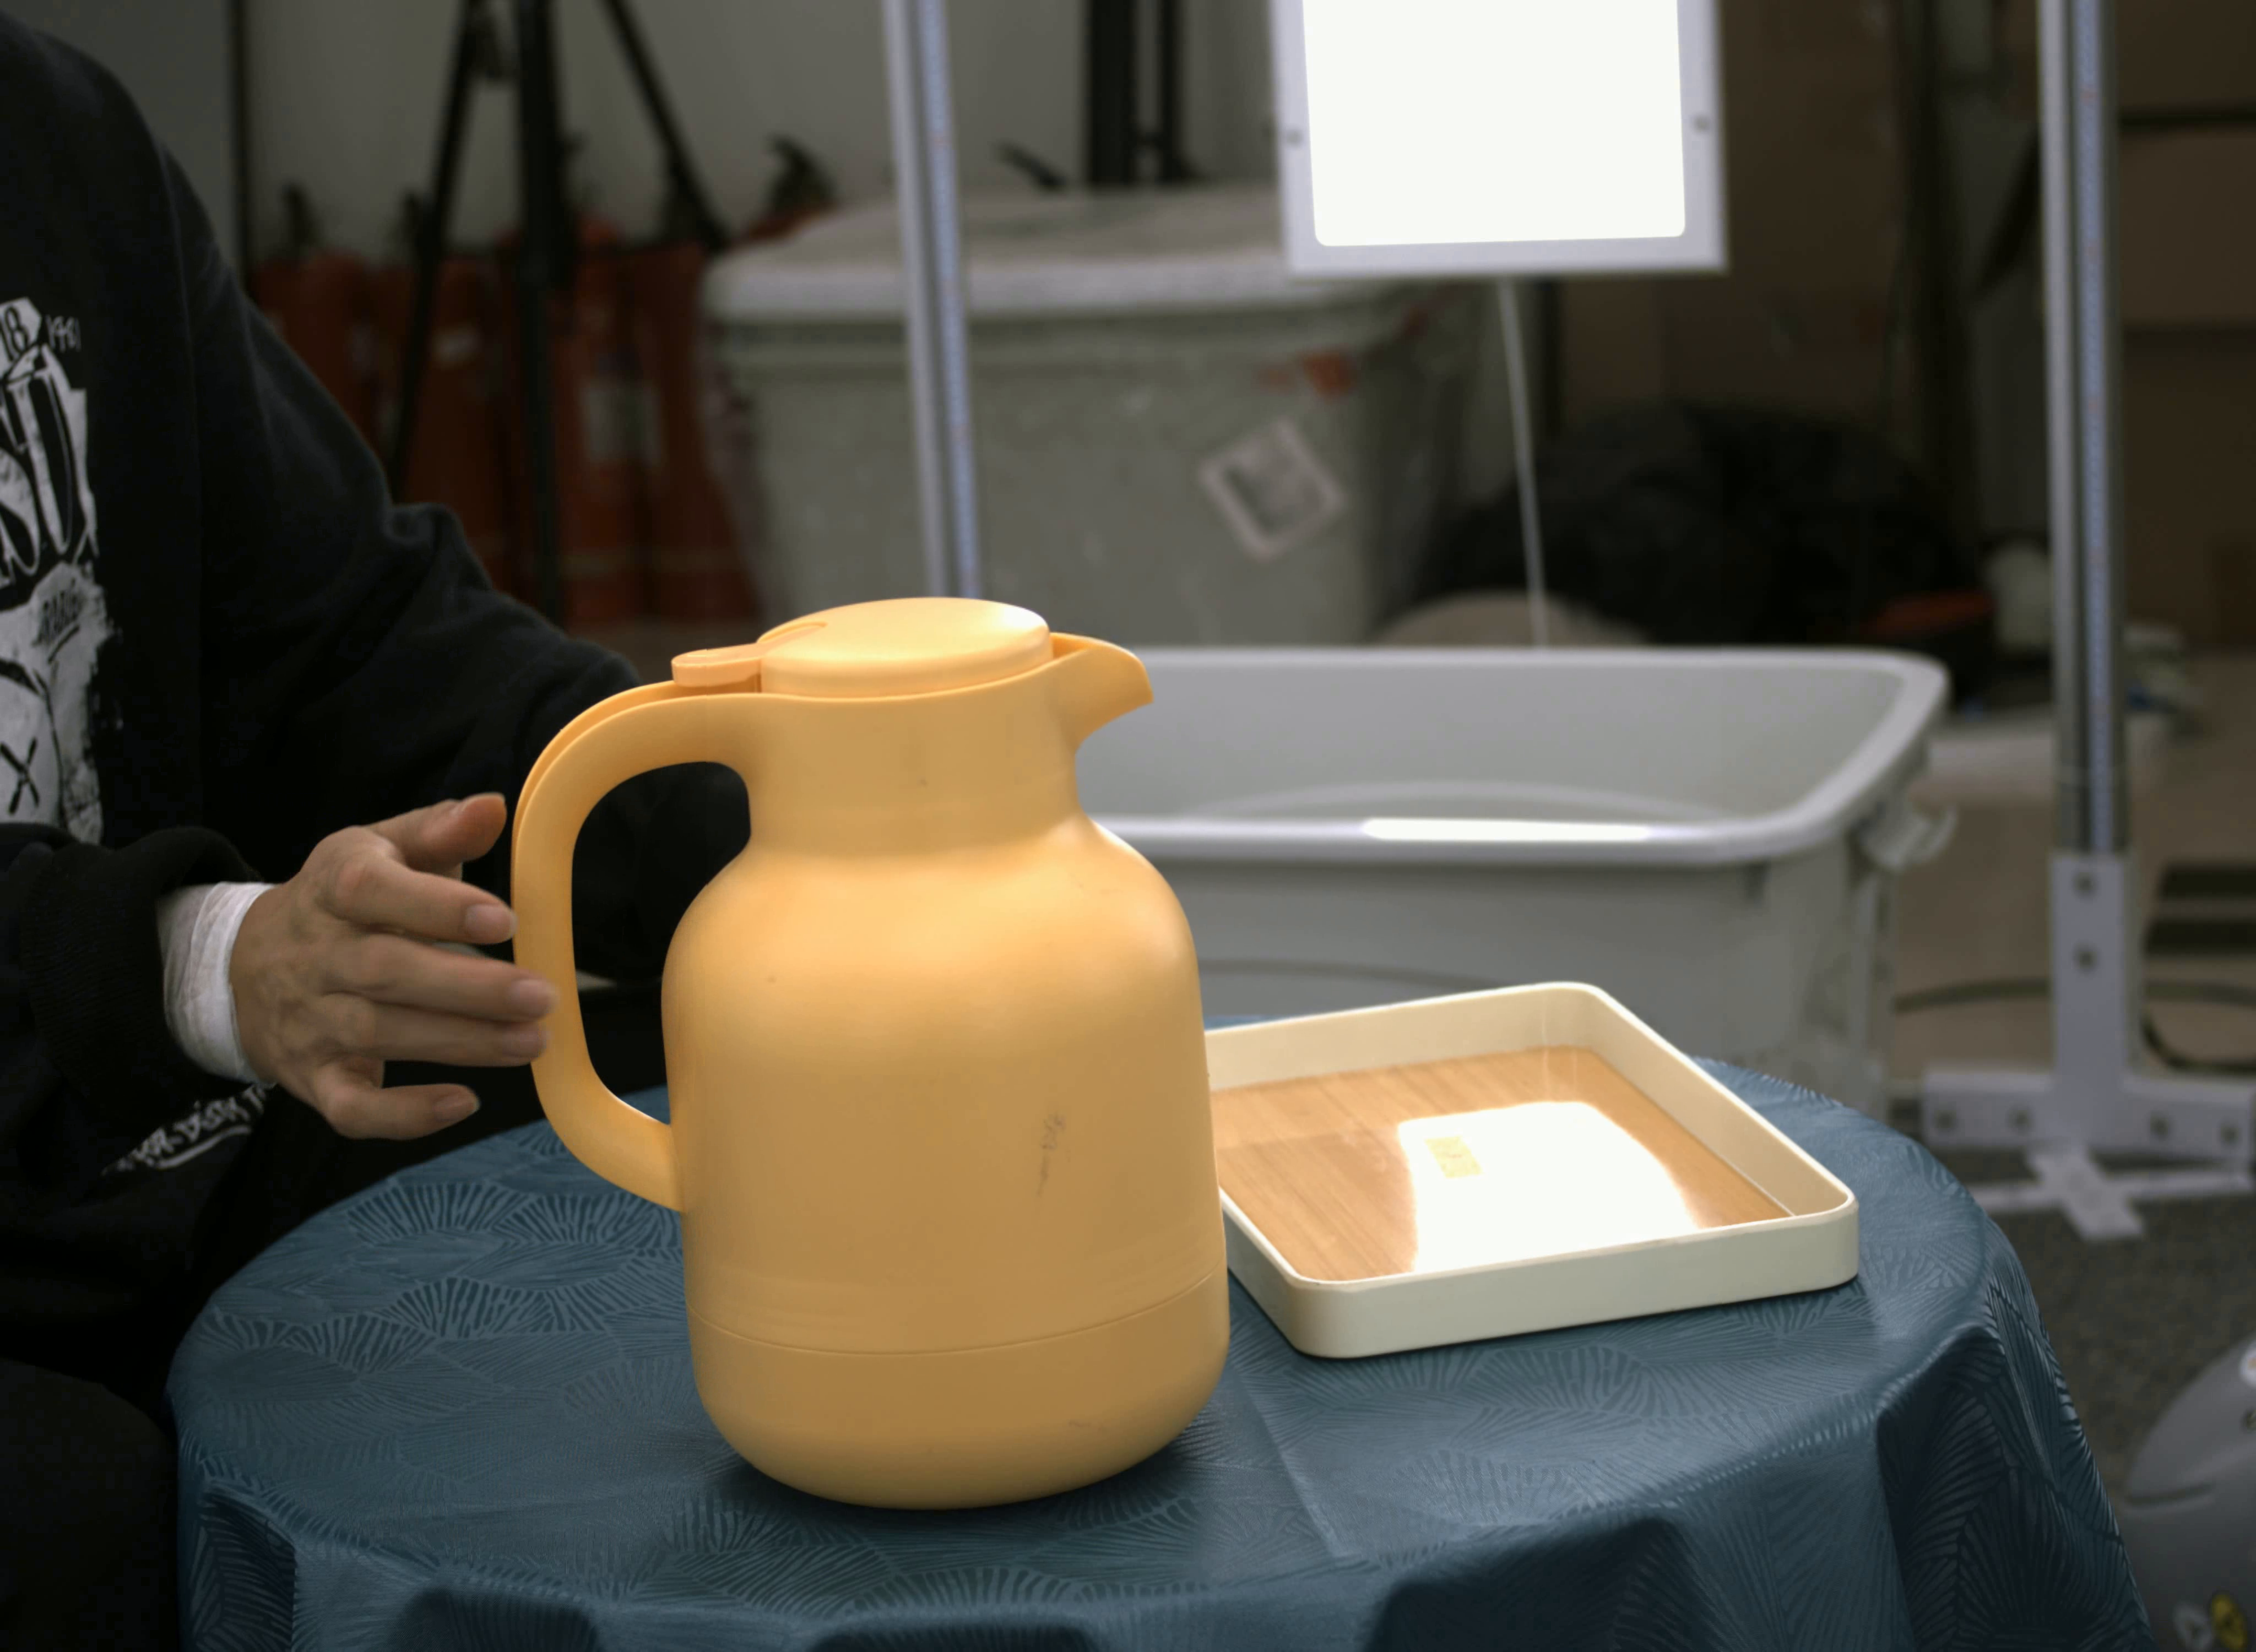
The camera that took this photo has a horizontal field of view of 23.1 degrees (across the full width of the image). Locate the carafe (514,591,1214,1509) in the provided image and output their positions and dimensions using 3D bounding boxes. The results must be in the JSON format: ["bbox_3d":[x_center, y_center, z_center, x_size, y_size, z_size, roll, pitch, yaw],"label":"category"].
[{"bbox_3d":[-0.079,0.063,1.636,0.201,0.261,0.163,-4,11,-3],"label":"carafe"}]

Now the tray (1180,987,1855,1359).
[{"bbox_3d":[0.111,0.113,1.860,0.189,0.027,0.302,-7,14,-11],"label":"tray"}]
